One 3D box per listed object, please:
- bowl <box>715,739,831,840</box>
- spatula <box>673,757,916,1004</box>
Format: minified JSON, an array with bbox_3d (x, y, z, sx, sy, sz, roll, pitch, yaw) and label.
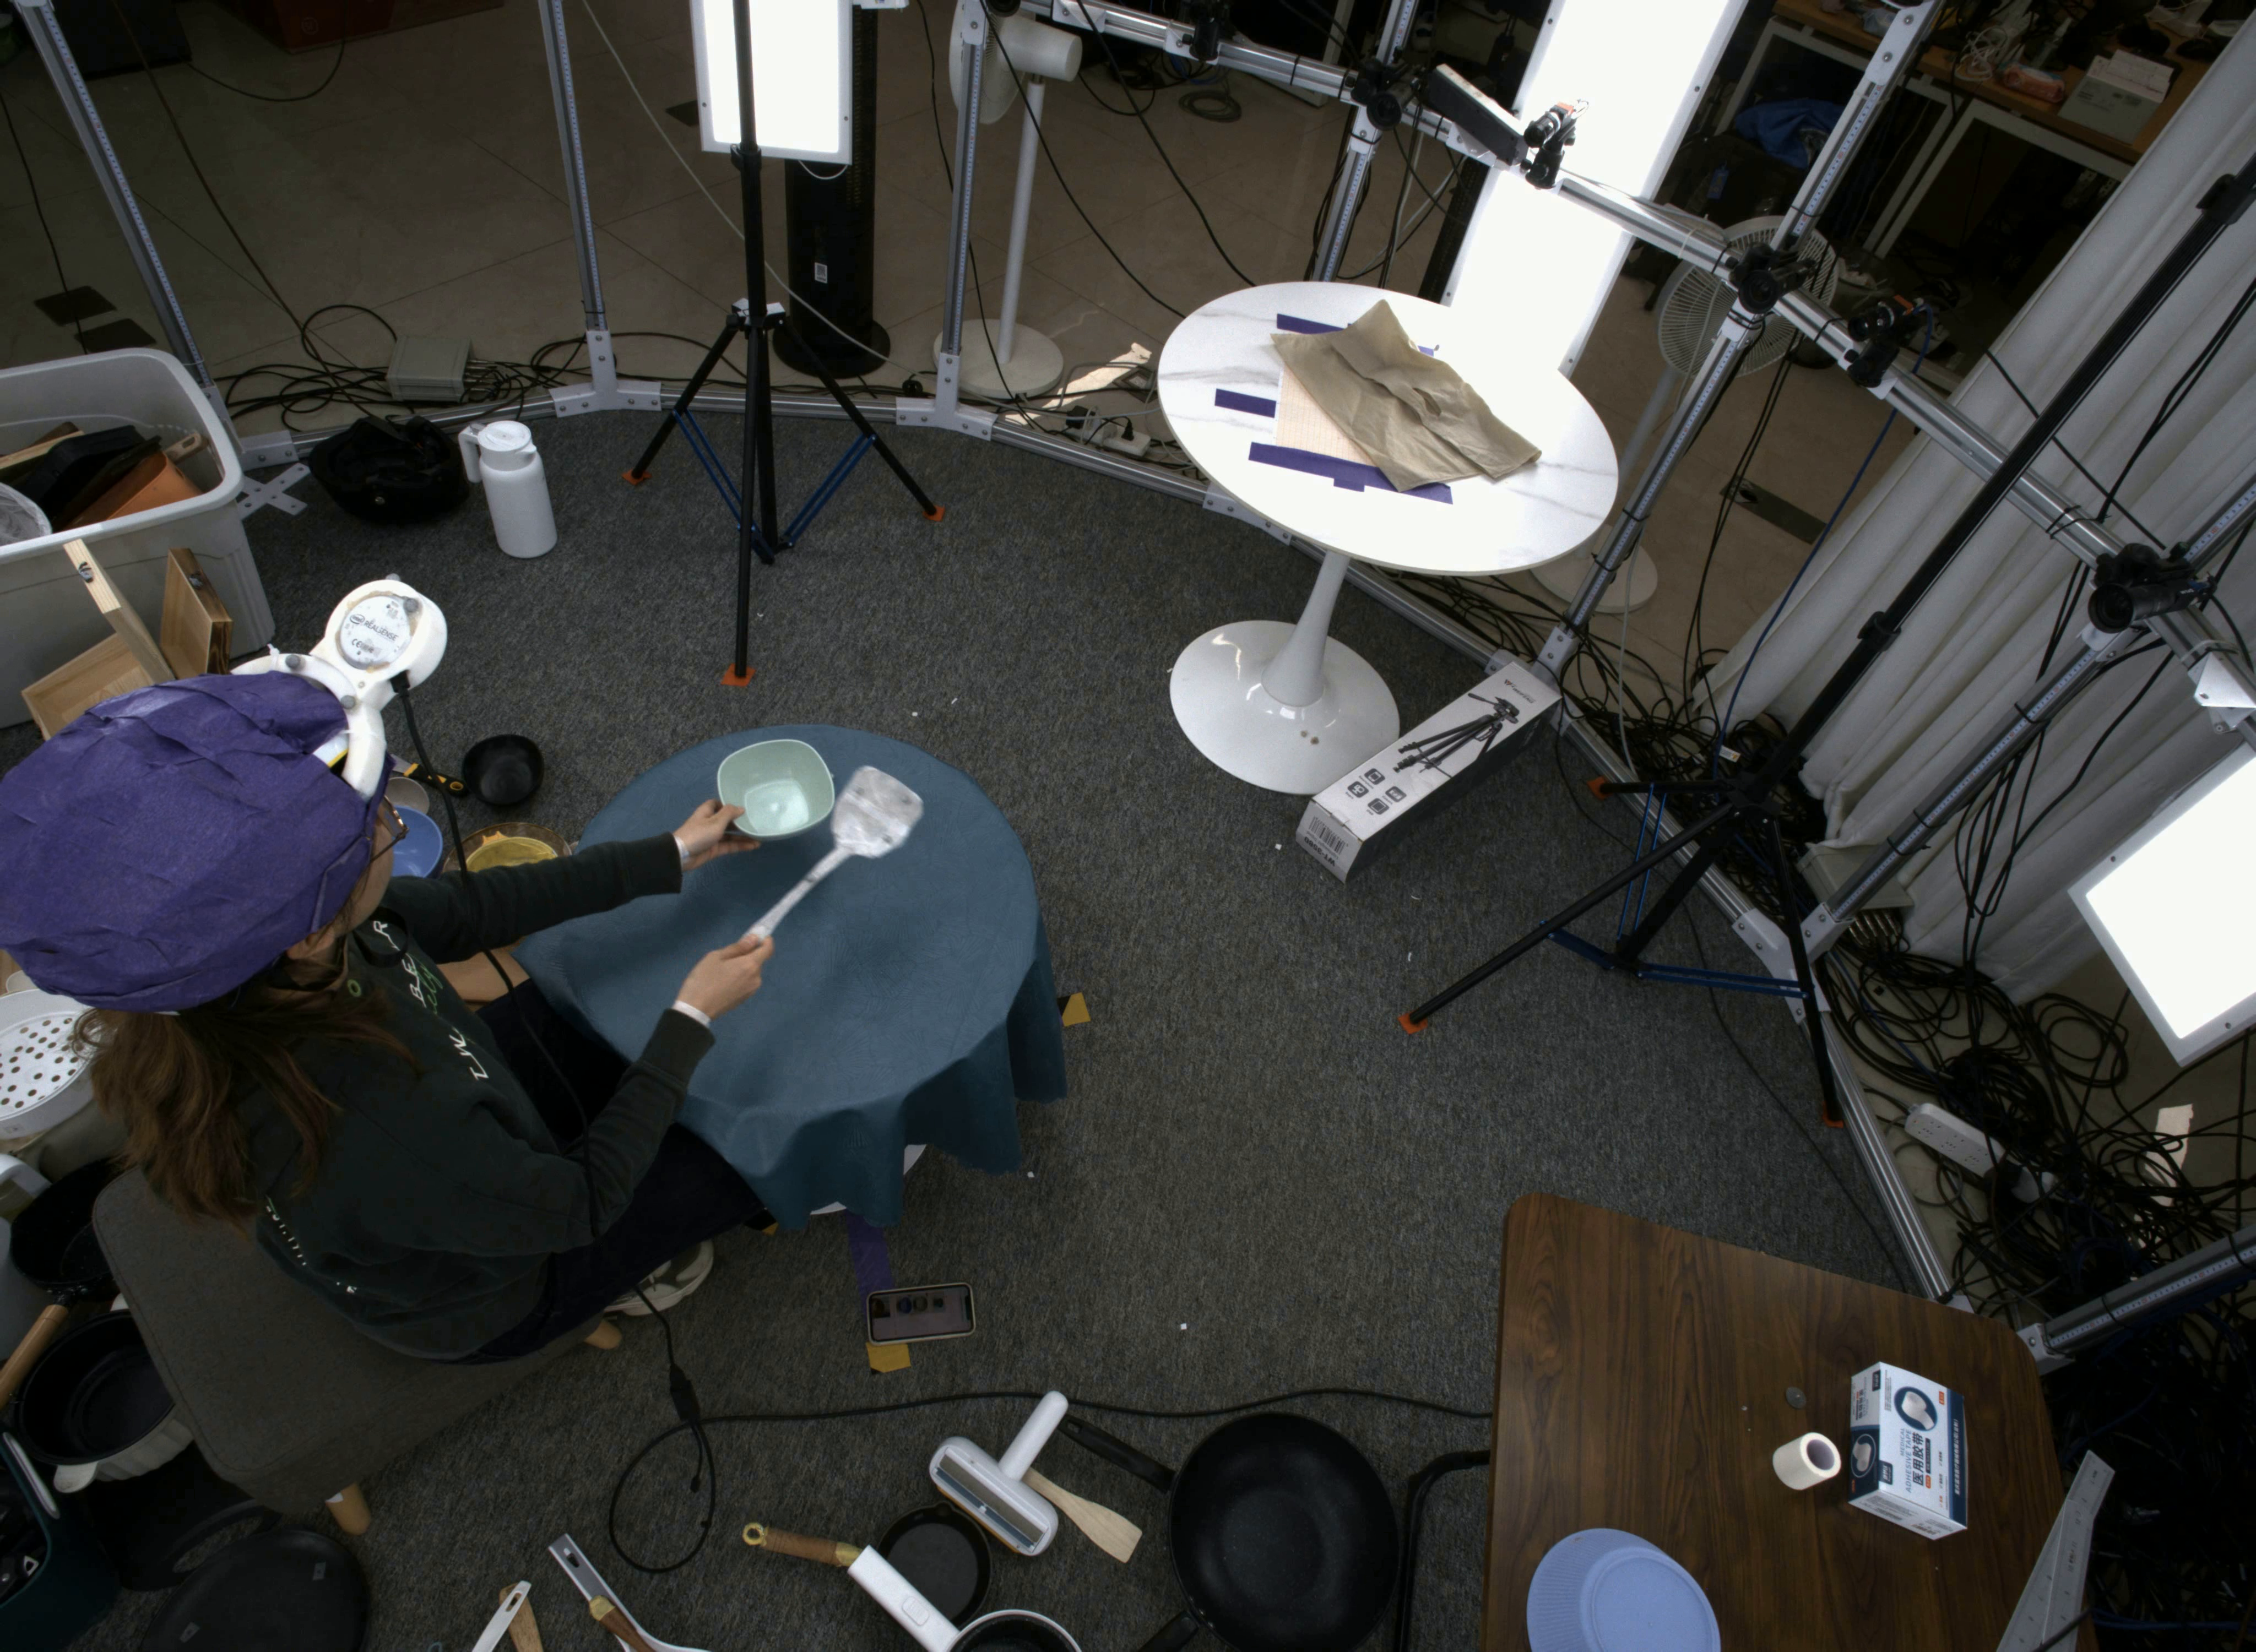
[{"bbox_3d":[-0.449,-0.037,1.635,0.152,0.059,0.149,10,54,-12],"label":"bowl"},{"bbox_3d":[-0.384,0.065,1.474,0.097,0.045,0.364,35,59,7],"label":"spatula"}]
